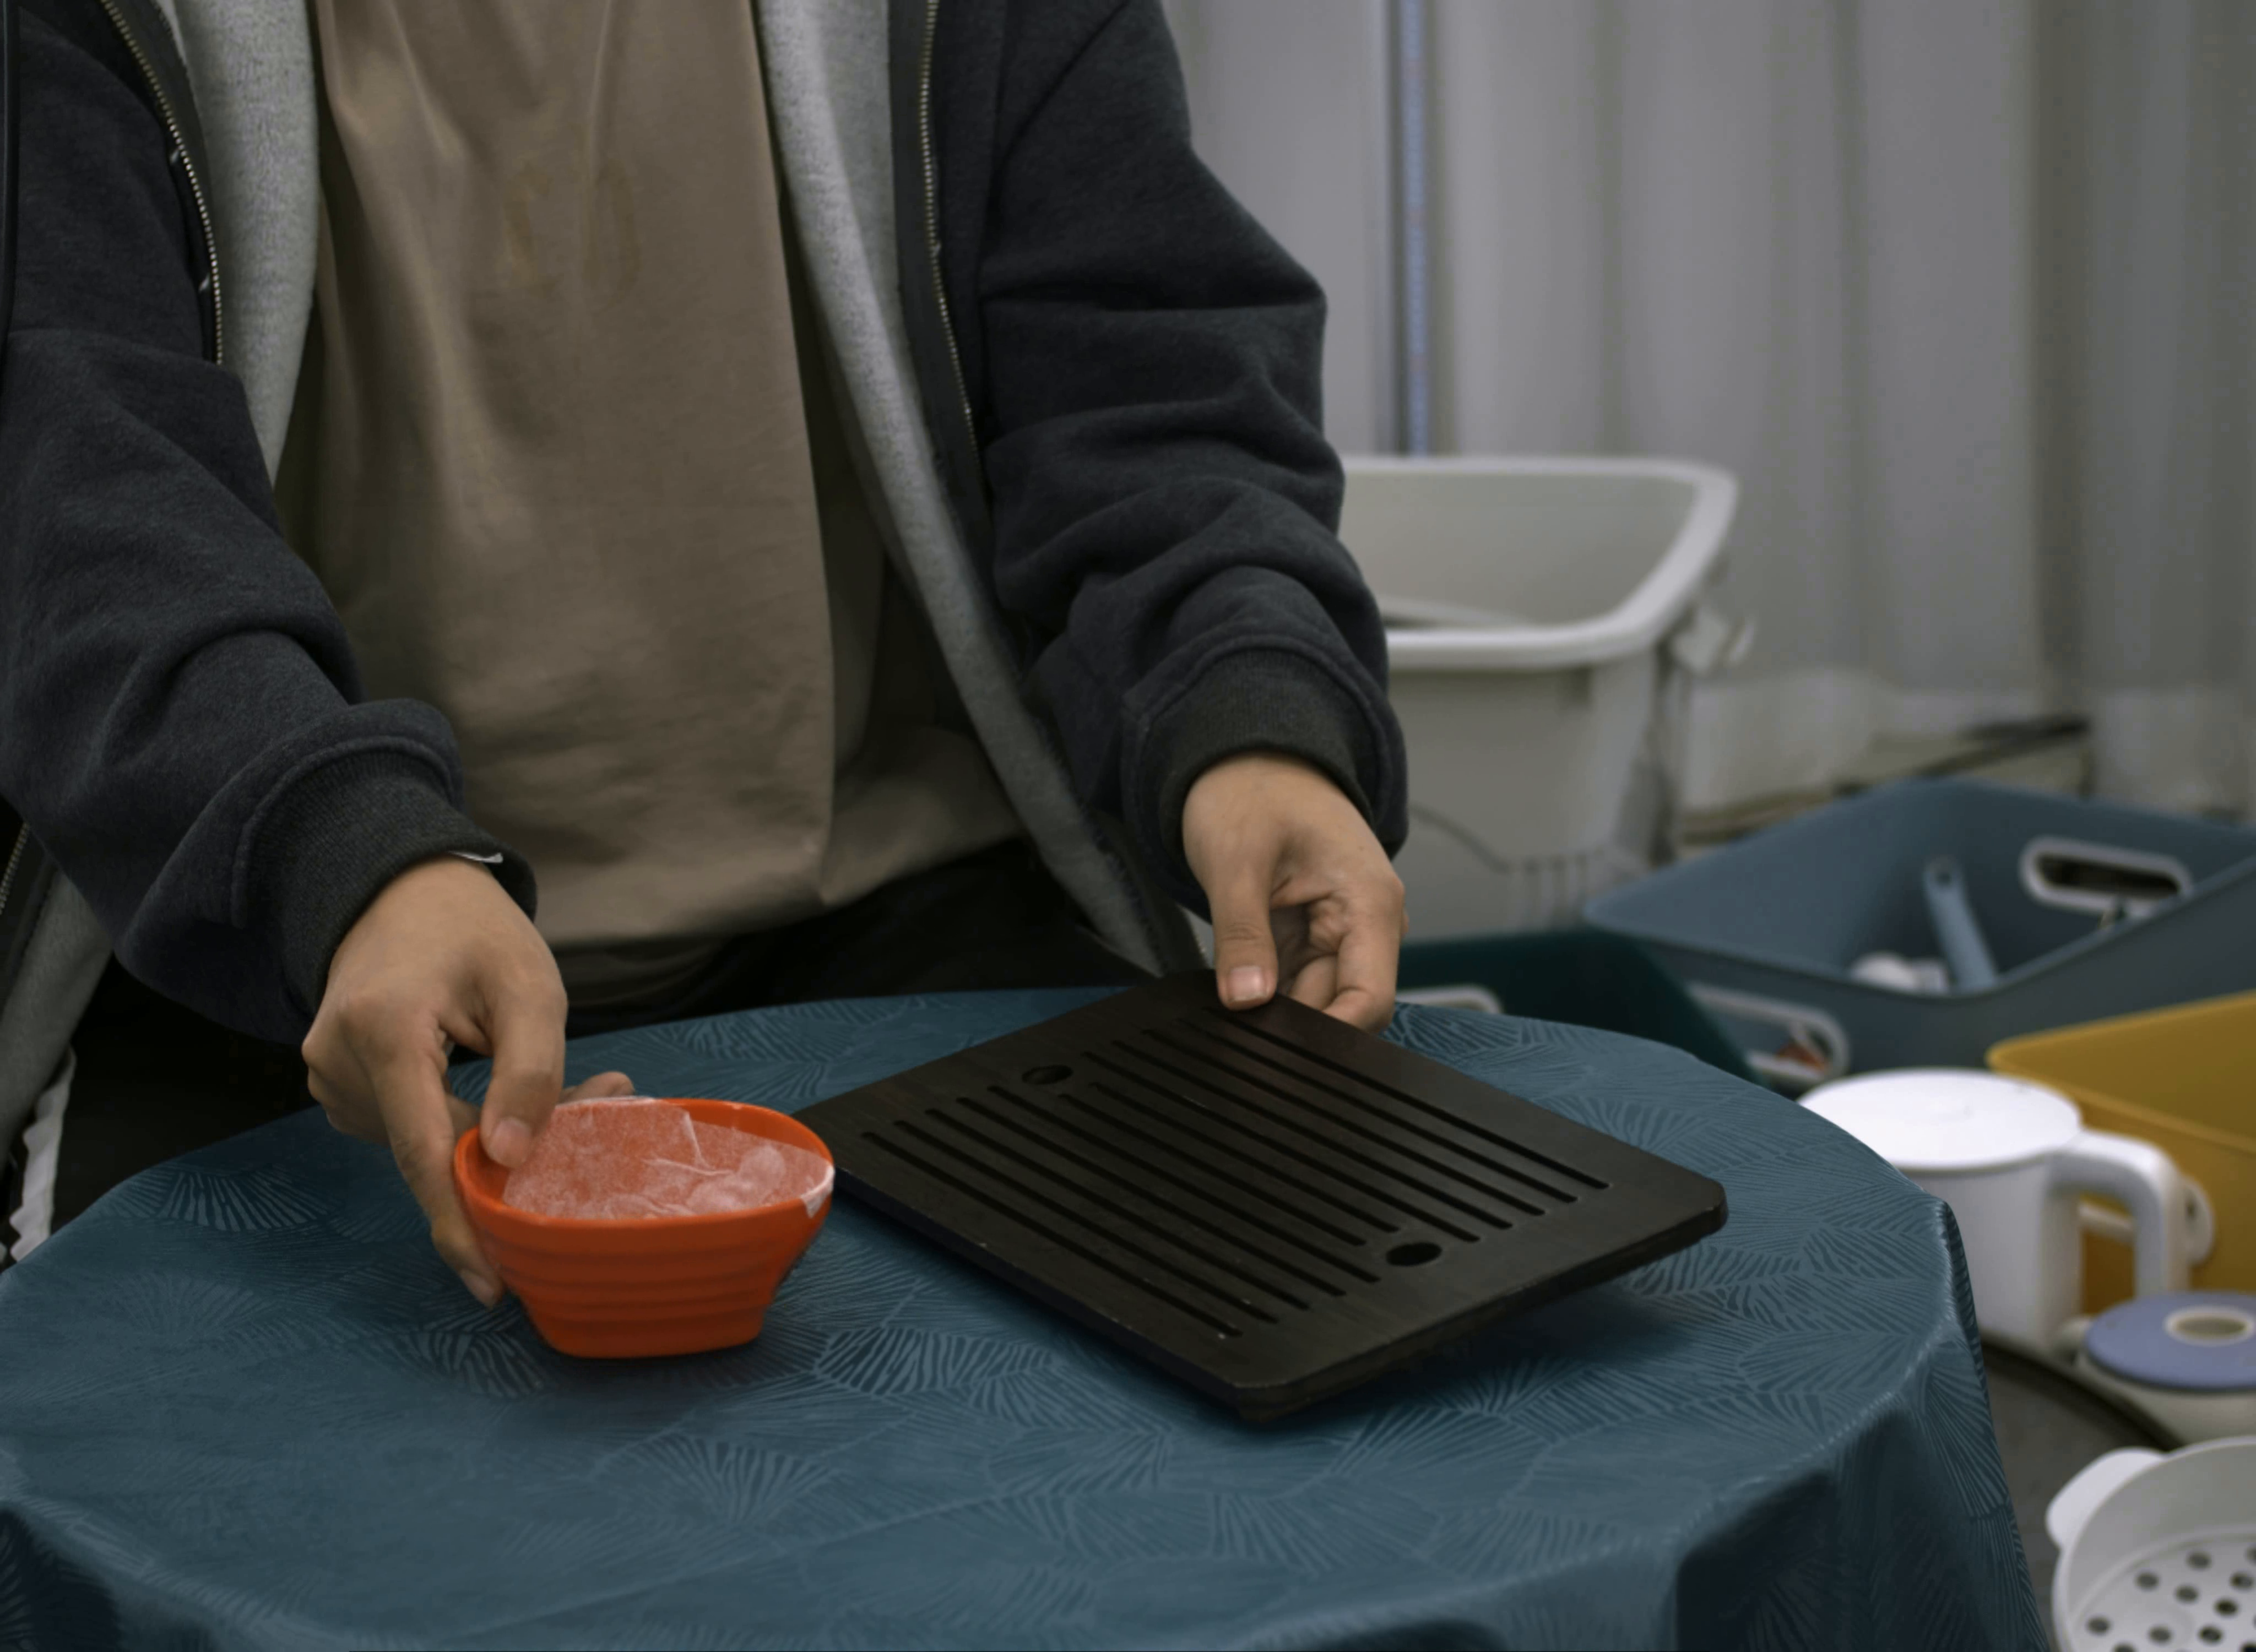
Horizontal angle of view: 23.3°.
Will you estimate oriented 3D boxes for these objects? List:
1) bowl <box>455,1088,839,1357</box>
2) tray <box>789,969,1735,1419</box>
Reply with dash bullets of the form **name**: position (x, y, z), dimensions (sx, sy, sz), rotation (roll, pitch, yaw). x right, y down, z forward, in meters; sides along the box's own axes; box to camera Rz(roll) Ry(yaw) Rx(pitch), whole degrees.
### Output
- **bowl**: position (-0.141, 0.119, 1.605), dimensions (0.118, 0.051, 0.120), rotation (1, 17, 0)
- **tray**: position (0.033, 0.107, 1.664), dimensions (0.170, 0.018, 0.308), rotation (-19, 20, -26)
